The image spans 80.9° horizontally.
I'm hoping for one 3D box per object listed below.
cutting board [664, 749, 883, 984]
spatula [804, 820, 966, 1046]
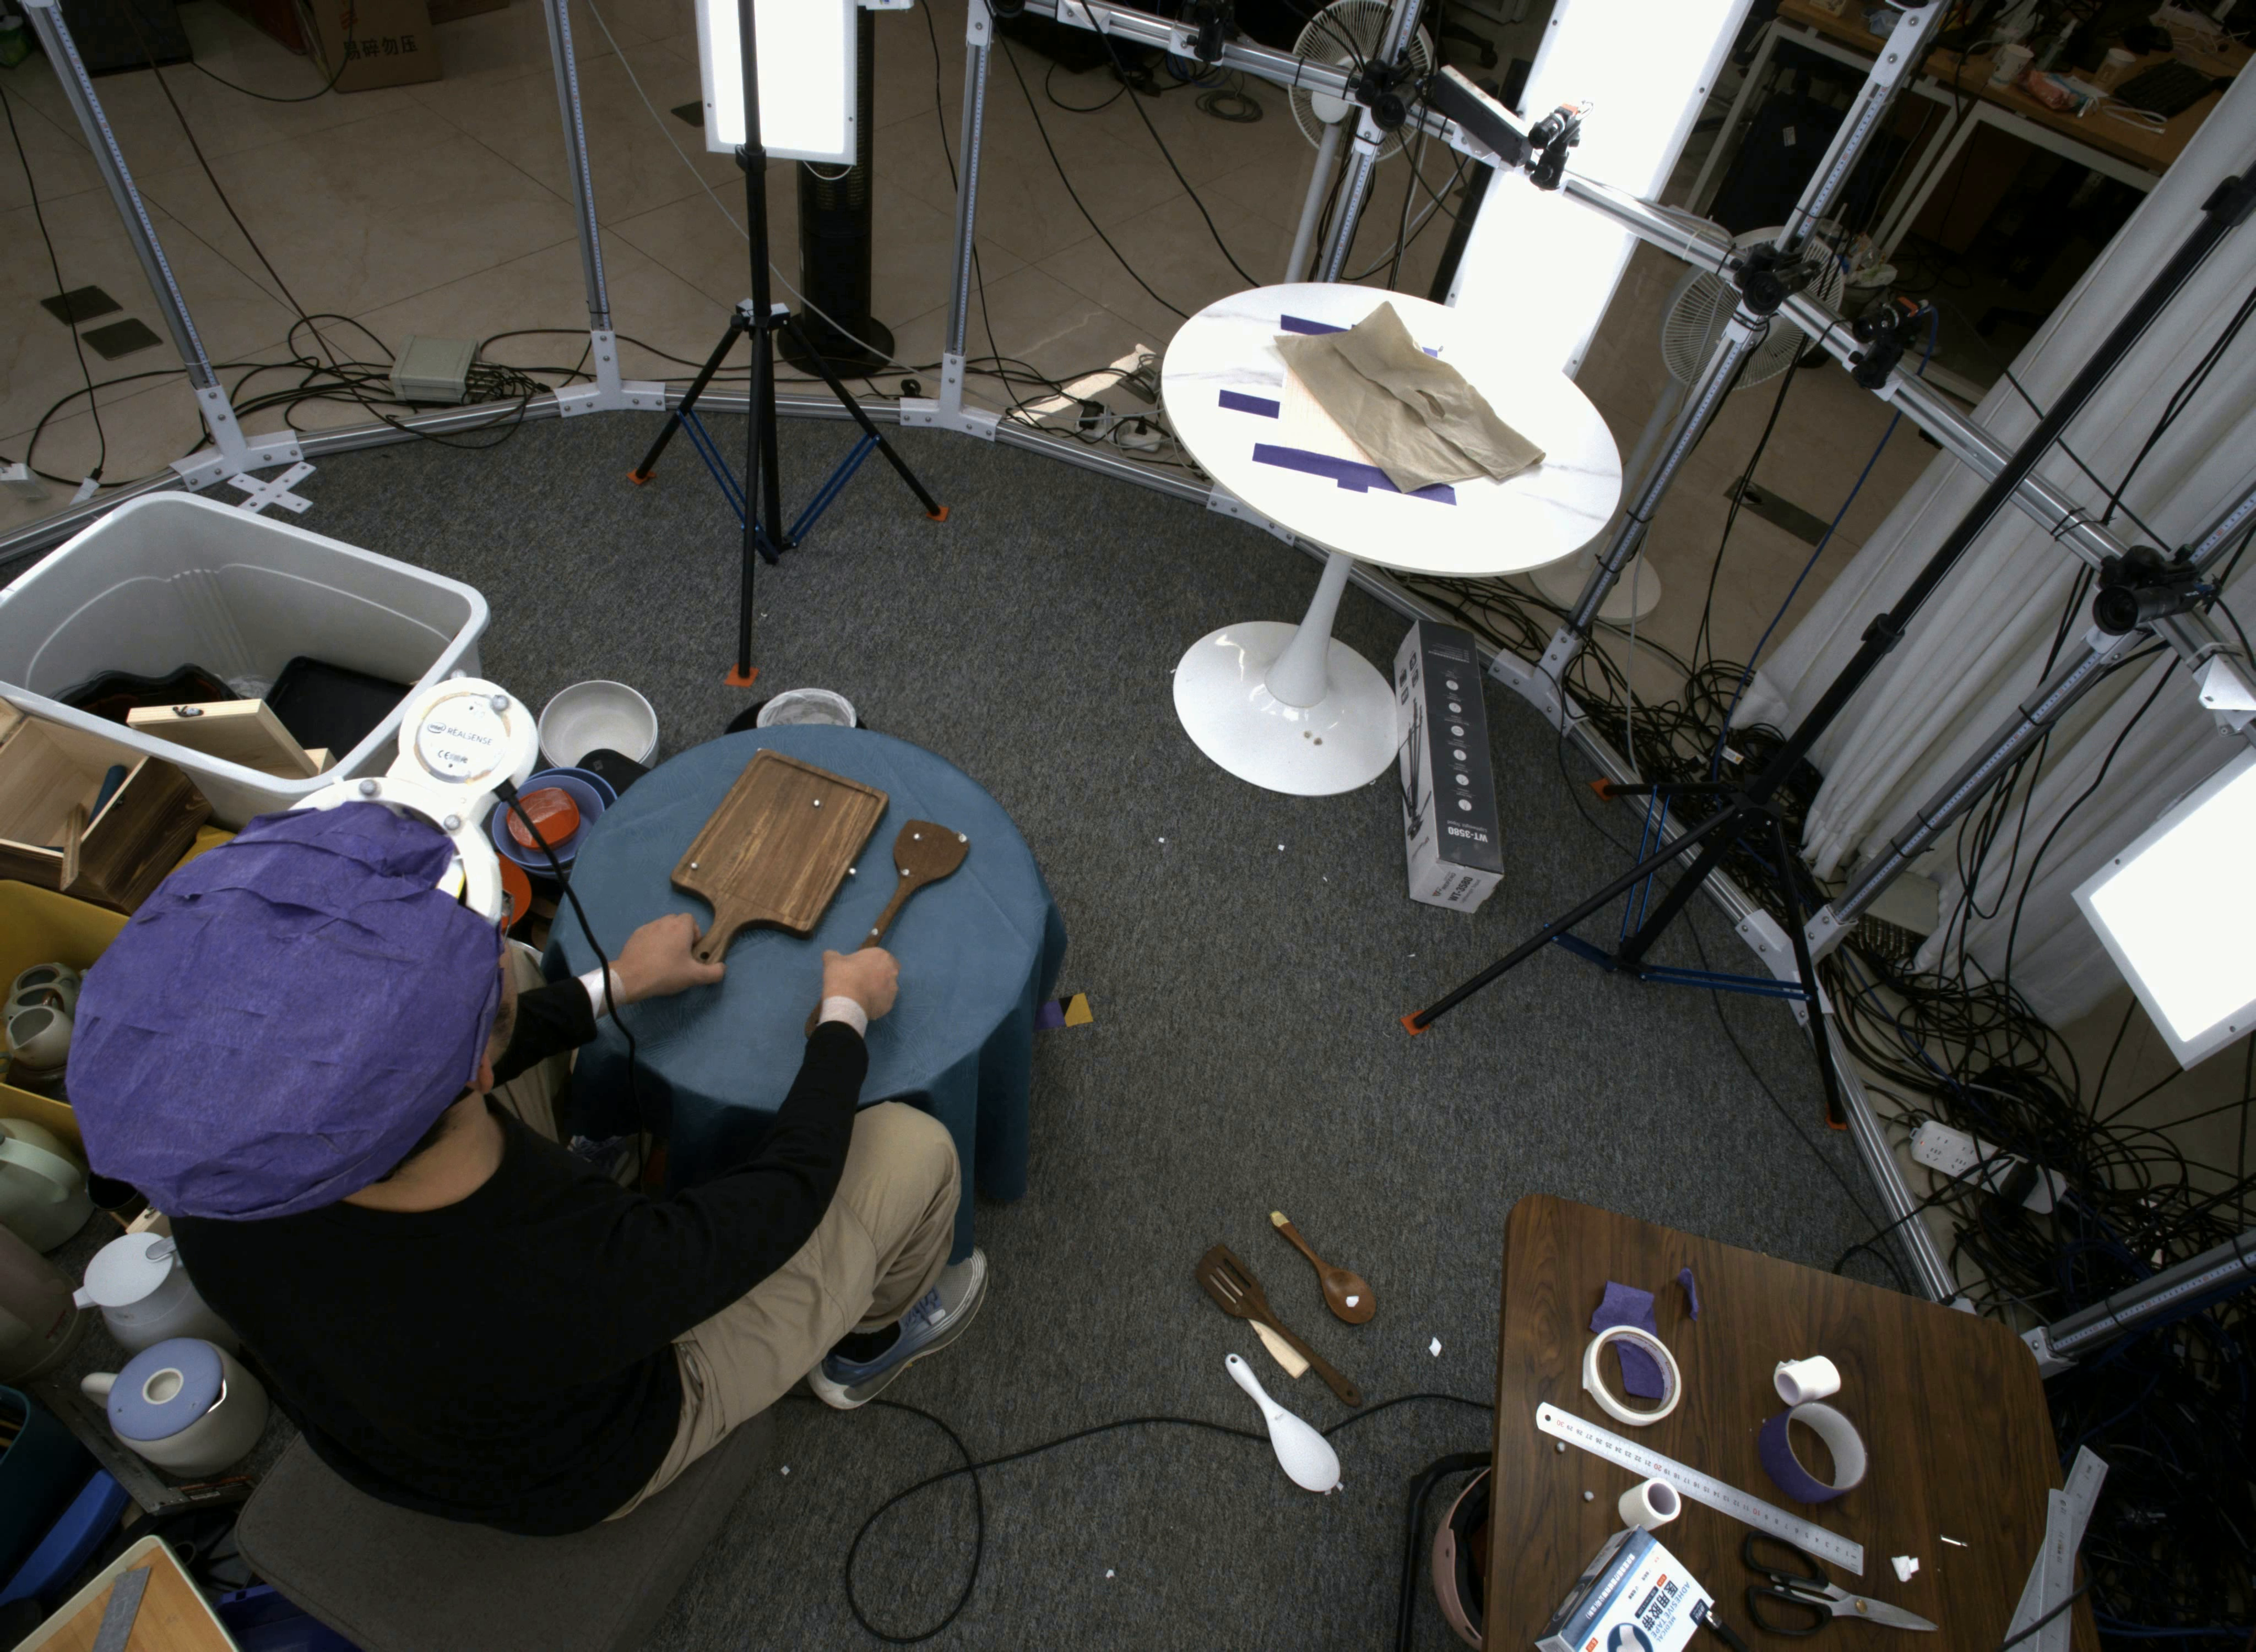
[{"bbox_3d":[-0.470,0.053,1.652,0.199,0.023,0.348,20,51,1],"label":"cutting board"},{"bbox_3d":[-0.311,0.124,1.628,0.095,0.016,0.382,21,45,3],"label":"spatula"}]
